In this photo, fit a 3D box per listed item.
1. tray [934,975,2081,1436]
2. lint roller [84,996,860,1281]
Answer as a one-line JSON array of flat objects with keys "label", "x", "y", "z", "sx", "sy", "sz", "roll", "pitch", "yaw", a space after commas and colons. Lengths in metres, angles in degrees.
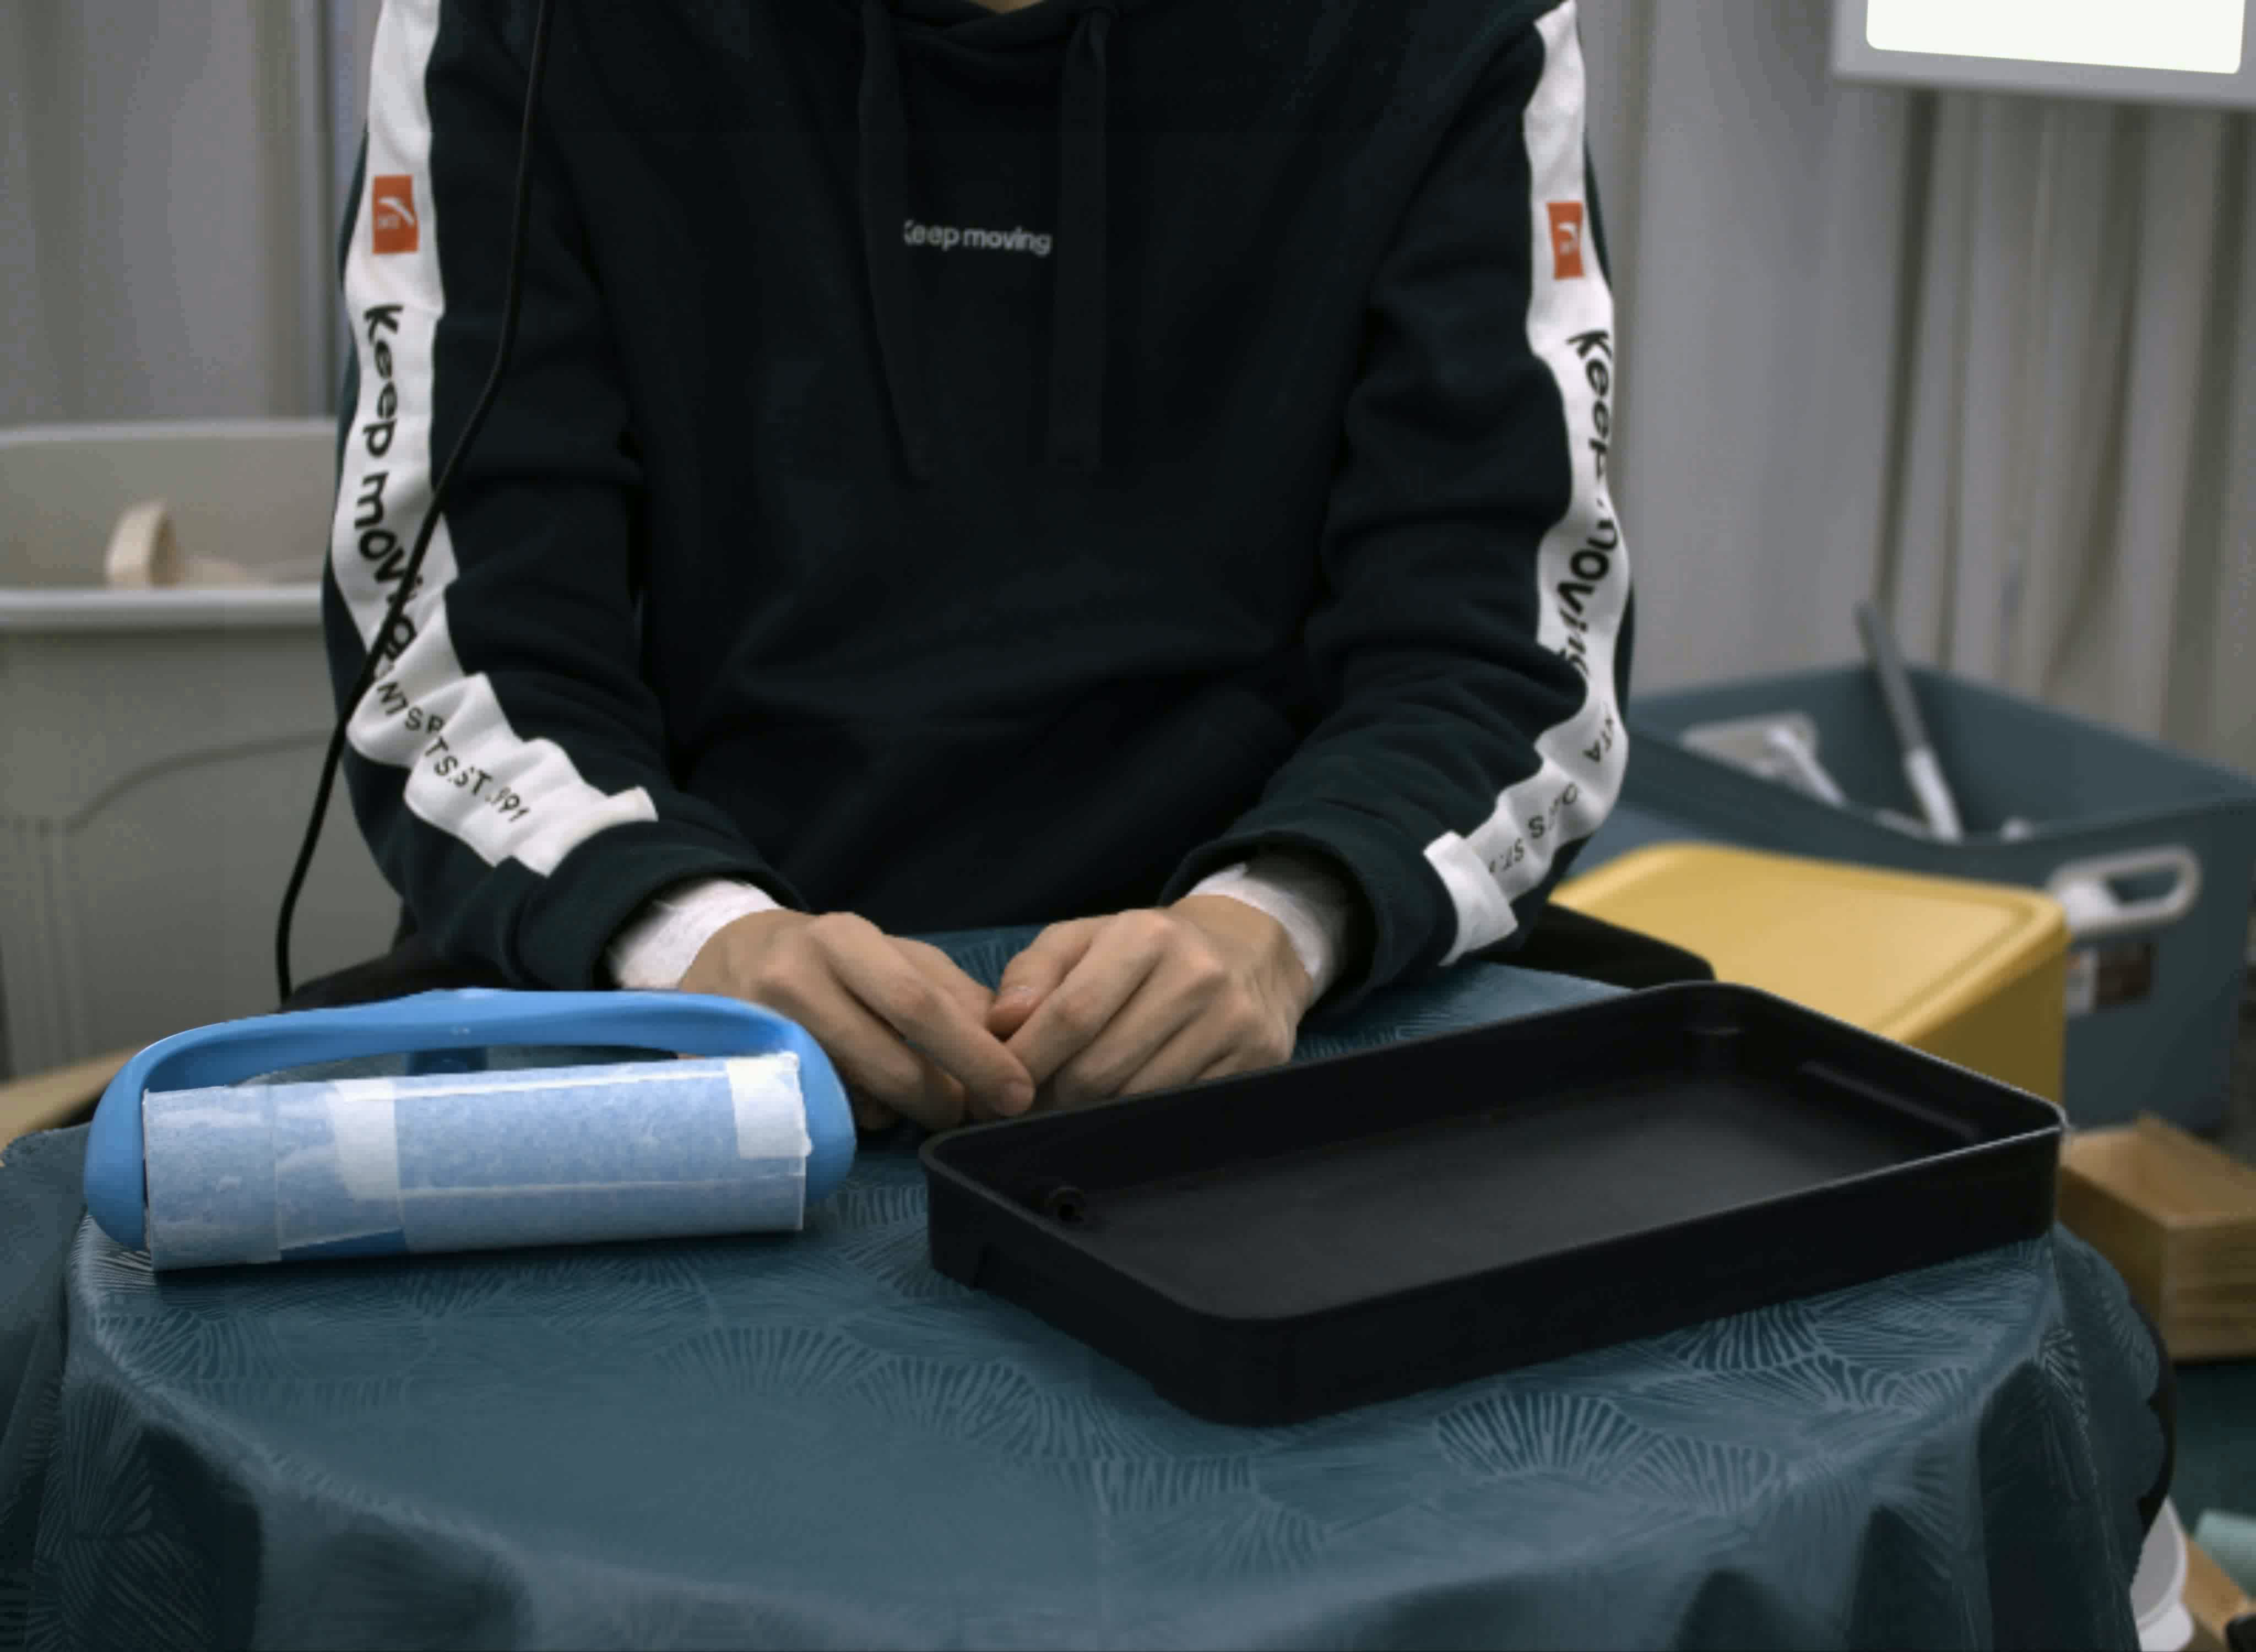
[{"label": "tray", "x": 0.115, "y": 0.107, "z": 1.576, "sx": 0.319, "sy": 0.037, "sz": 0.182, "roll": -11, "pitch": 19, "yaw": -33}, {"label": "lint roller", "x": -0.207, "y": 0.082, "z": 1.614, "sx": 0.229, "sy": 0.068, "sz": 0.178, "roll": -6, "pitch": 18, "yaw": -13}]
